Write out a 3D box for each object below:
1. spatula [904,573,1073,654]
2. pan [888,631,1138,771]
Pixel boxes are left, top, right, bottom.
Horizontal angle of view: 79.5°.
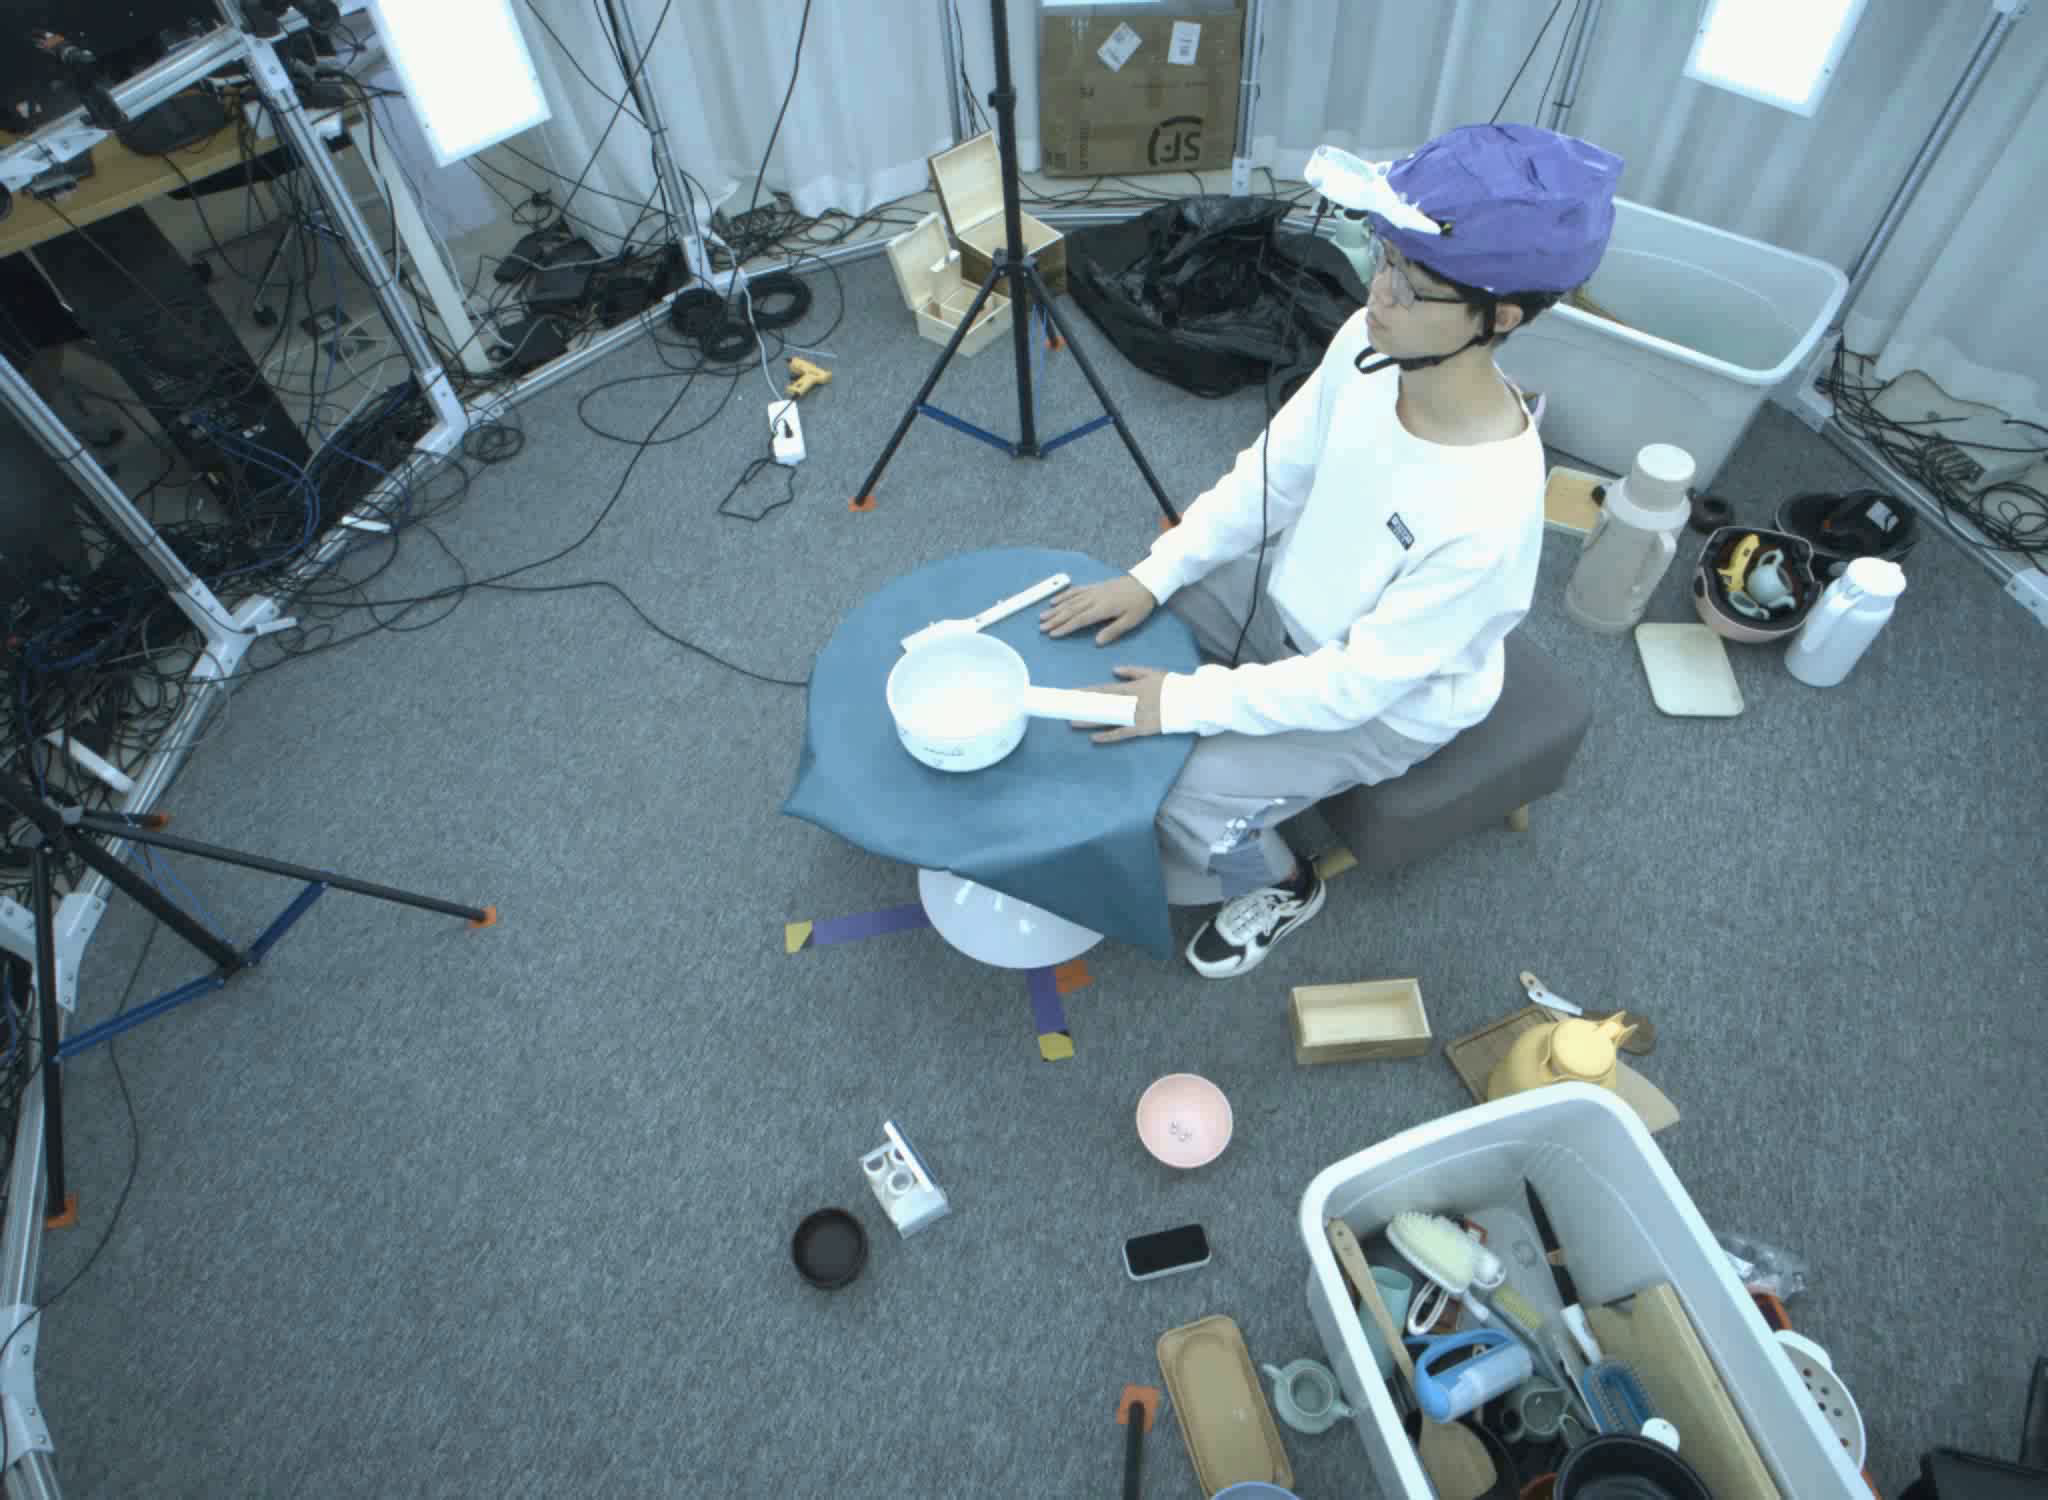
[{"bbox_3d":[-0.049,-0.213,1.933,0.295,0.011,0.071,-28,57,-17],"label":"spatula"},{"bbox_3d":[-0.015,-0.056,1.763,0.353,0.103,0.200,7,55,6],"label":"pan"}]
